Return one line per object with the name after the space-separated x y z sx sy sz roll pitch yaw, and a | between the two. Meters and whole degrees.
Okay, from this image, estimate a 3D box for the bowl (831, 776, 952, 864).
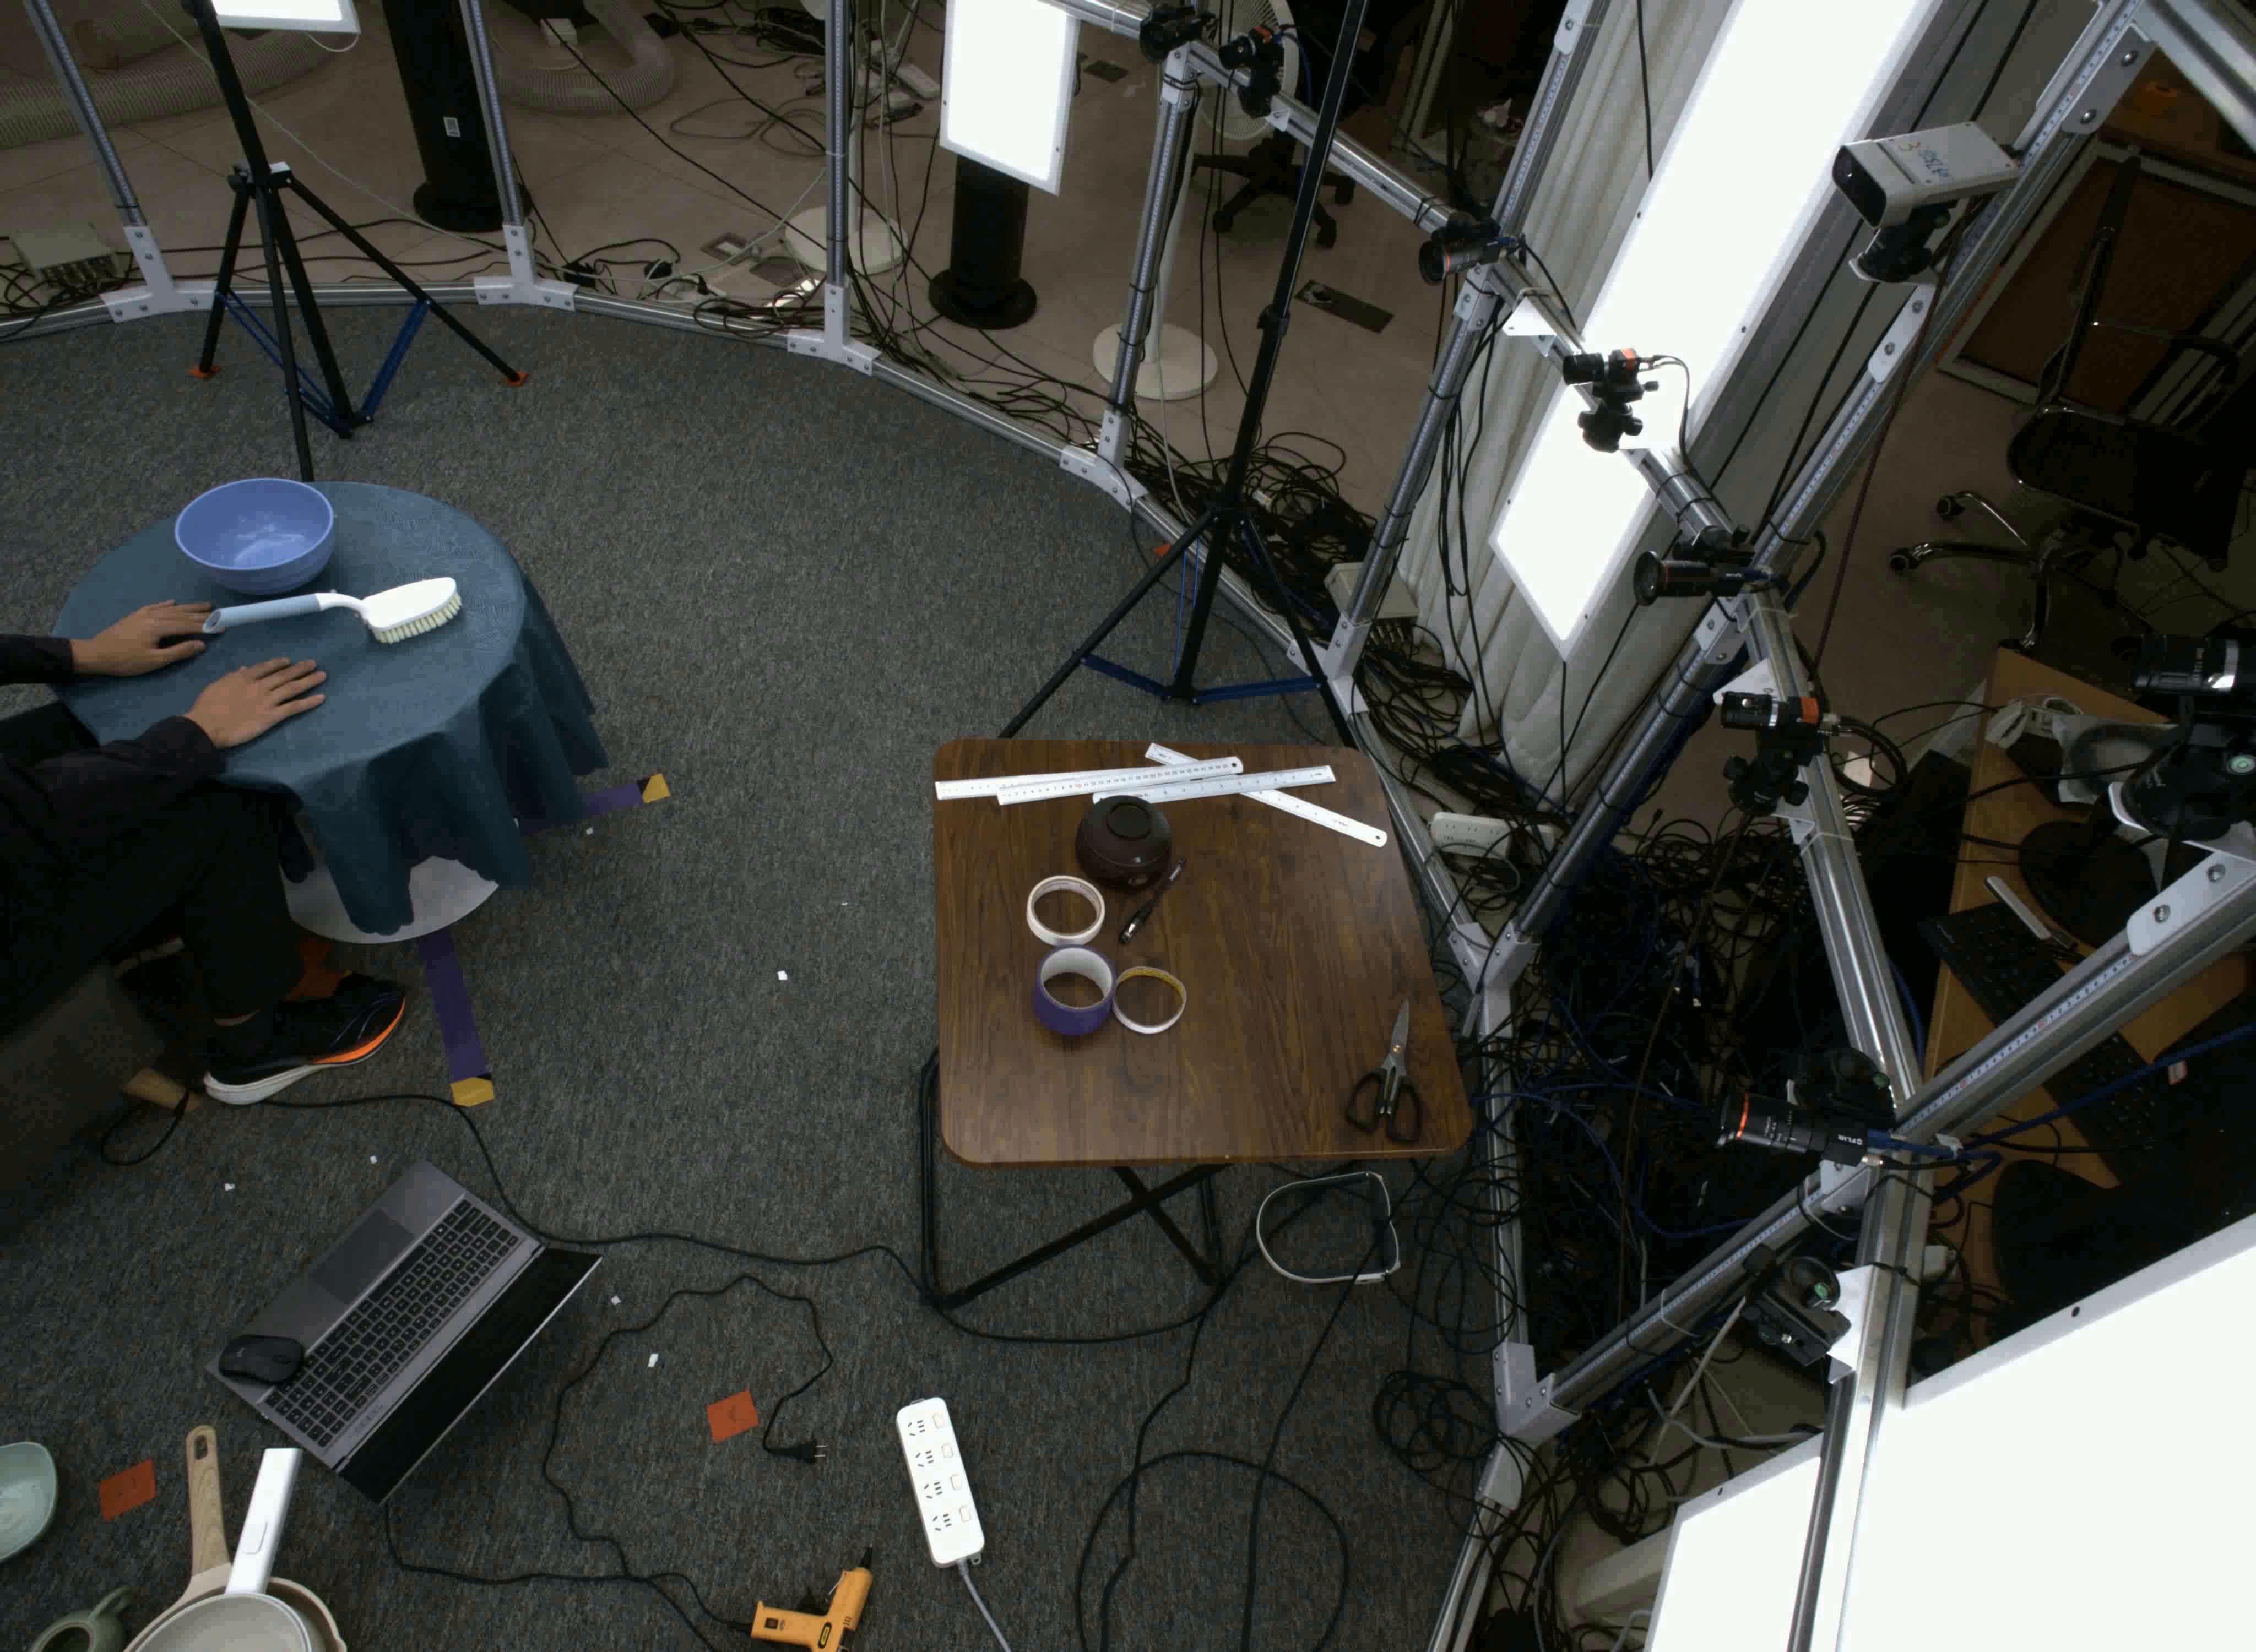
-0.388 -0.001 2.134 0.194 0.098 0.193 6 24 -1 | bowl

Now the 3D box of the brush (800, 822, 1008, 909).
-0.342 0.072 1.984 0.327 0.084 0.082 14 -15 -15 | brush
